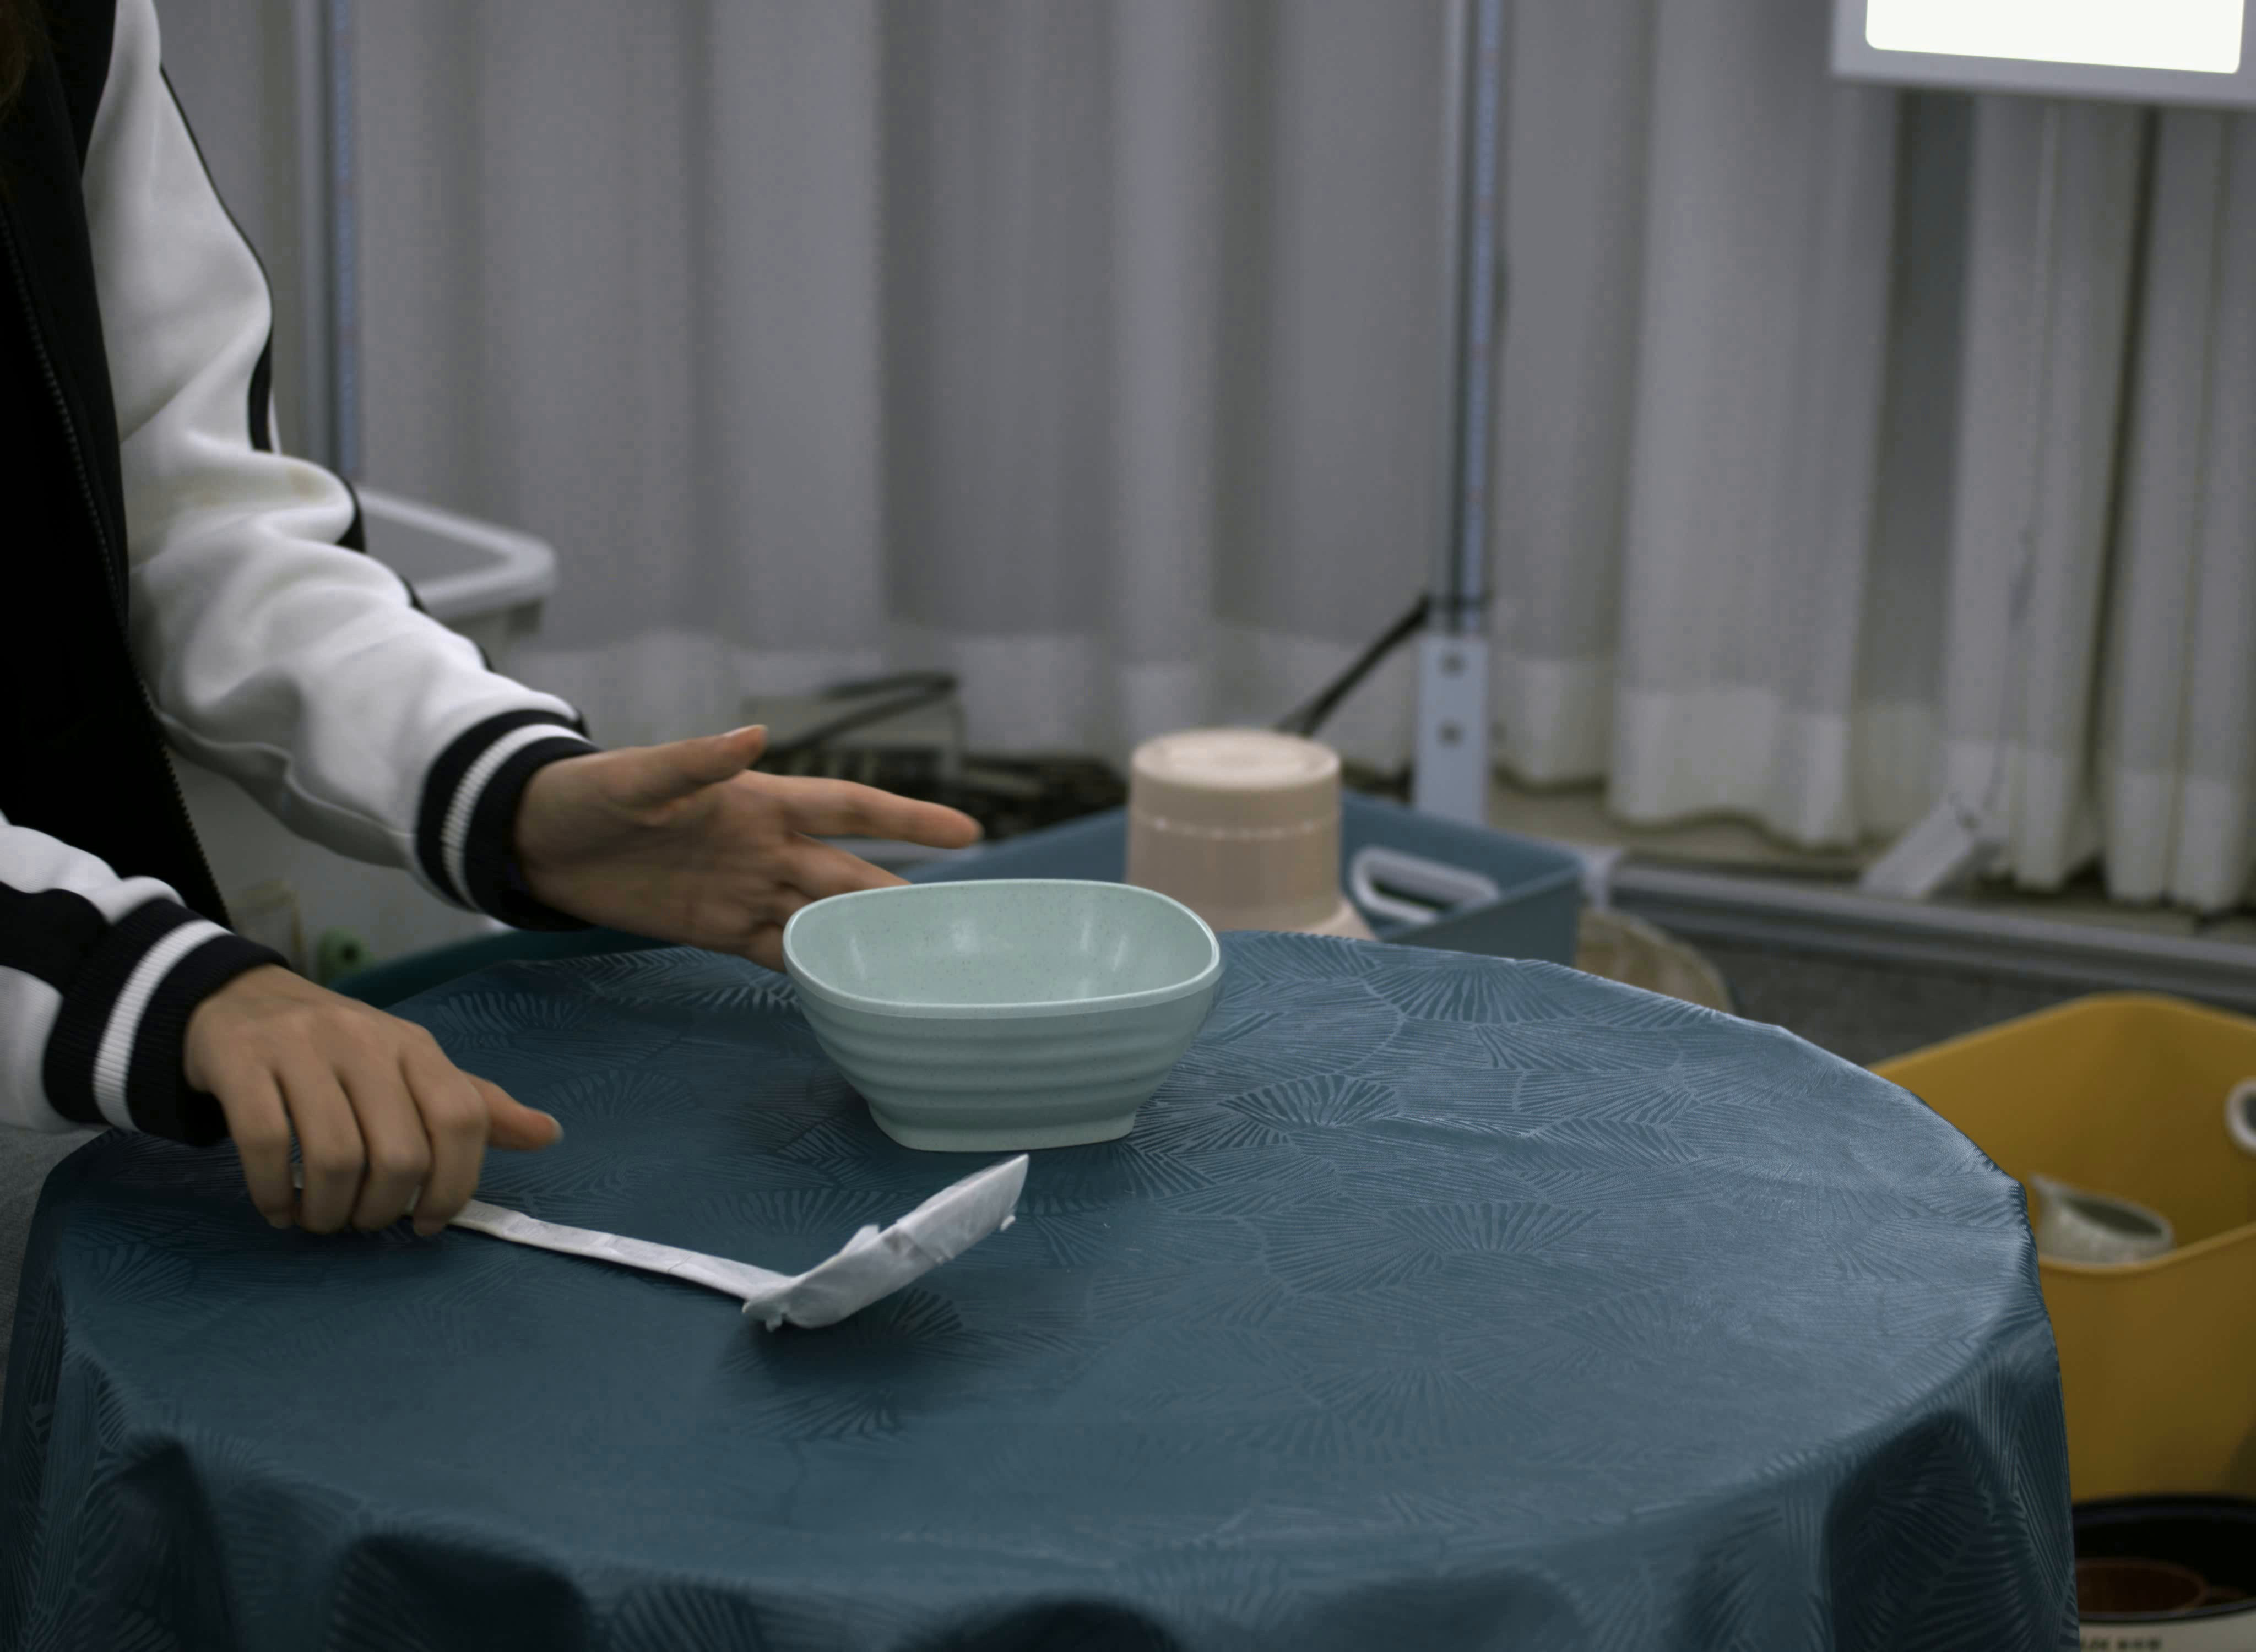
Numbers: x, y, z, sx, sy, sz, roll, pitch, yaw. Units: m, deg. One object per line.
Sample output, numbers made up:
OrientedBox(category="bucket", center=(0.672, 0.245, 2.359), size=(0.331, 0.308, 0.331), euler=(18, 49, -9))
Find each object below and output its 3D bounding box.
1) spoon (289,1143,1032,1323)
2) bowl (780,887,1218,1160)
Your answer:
OrientedBox(category="spoon", center=(-0.146, 0.099, 1.555), size=(0.274, 0.060, 0.101), euler=(12, 17, 35))
OrientedBox(category="bowl", center=(-0.041, 0.066, 1.689), size=(0.151, 0.059, 0.150), euler=(1, 16, 0))
